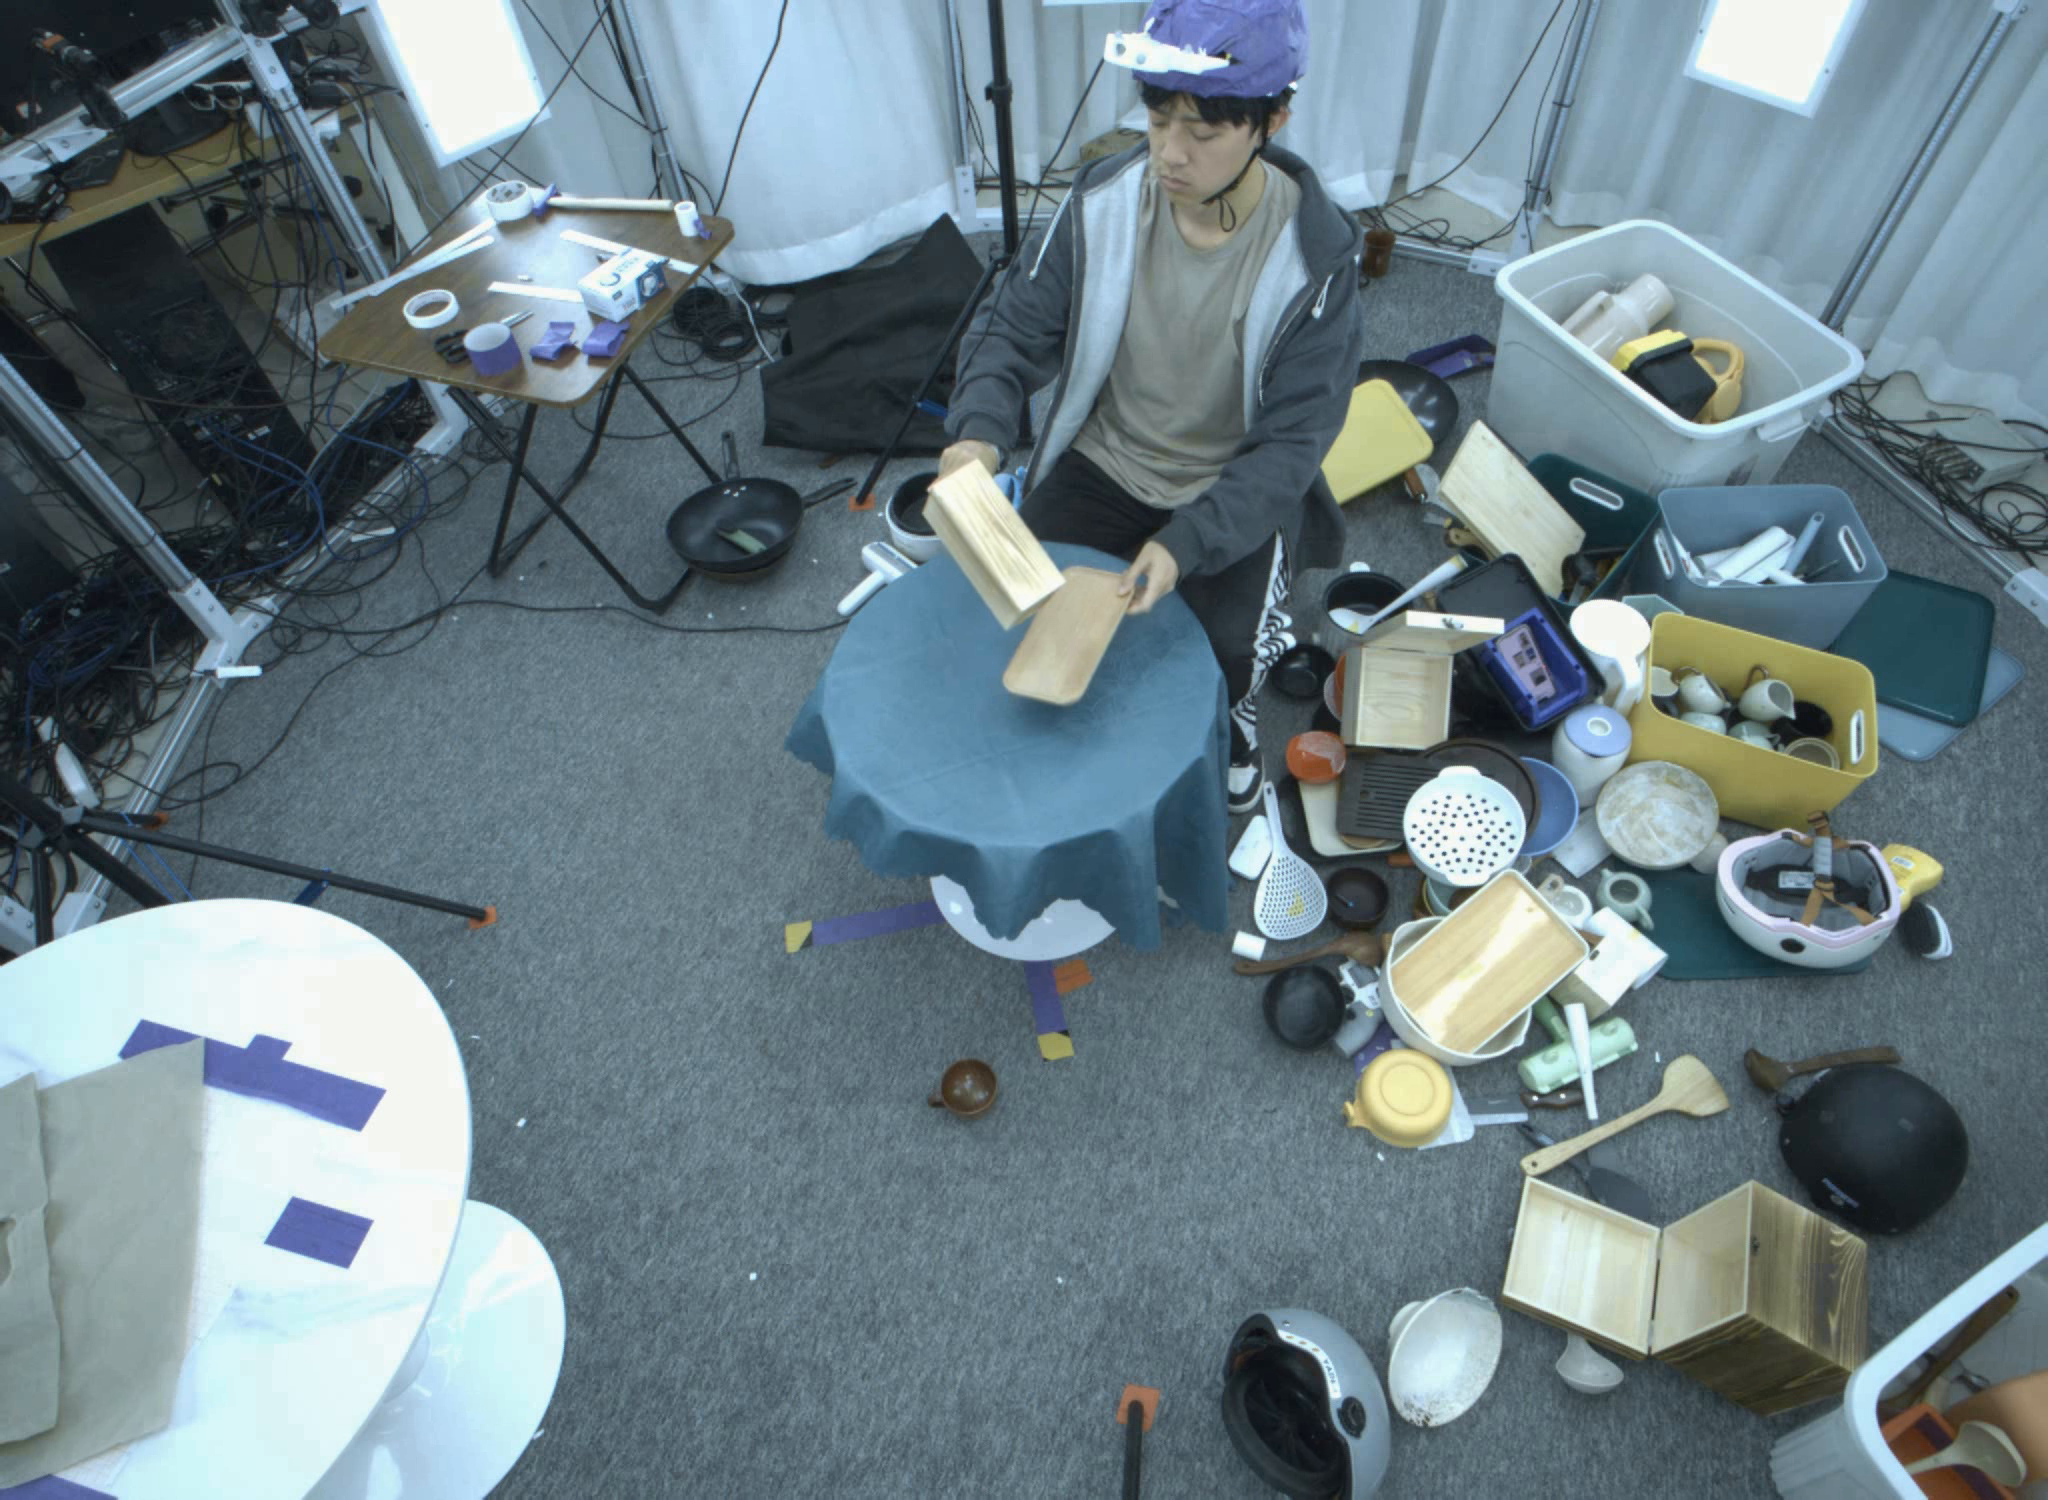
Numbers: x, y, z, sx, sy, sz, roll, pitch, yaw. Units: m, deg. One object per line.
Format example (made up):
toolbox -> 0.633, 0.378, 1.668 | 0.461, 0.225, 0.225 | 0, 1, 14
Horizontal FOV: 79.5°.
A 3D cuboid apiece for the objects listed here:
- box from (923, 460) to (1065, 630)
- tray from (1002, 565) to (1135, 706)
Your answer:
box -> -0.046, -0.286, 1.717 | 0.081, 0.107, 0.211 | -36, 92, -16
tray -> 0.067, -0.171, 1.812 | 0.128, 0.023, 0.251 | 17, 61, 20
